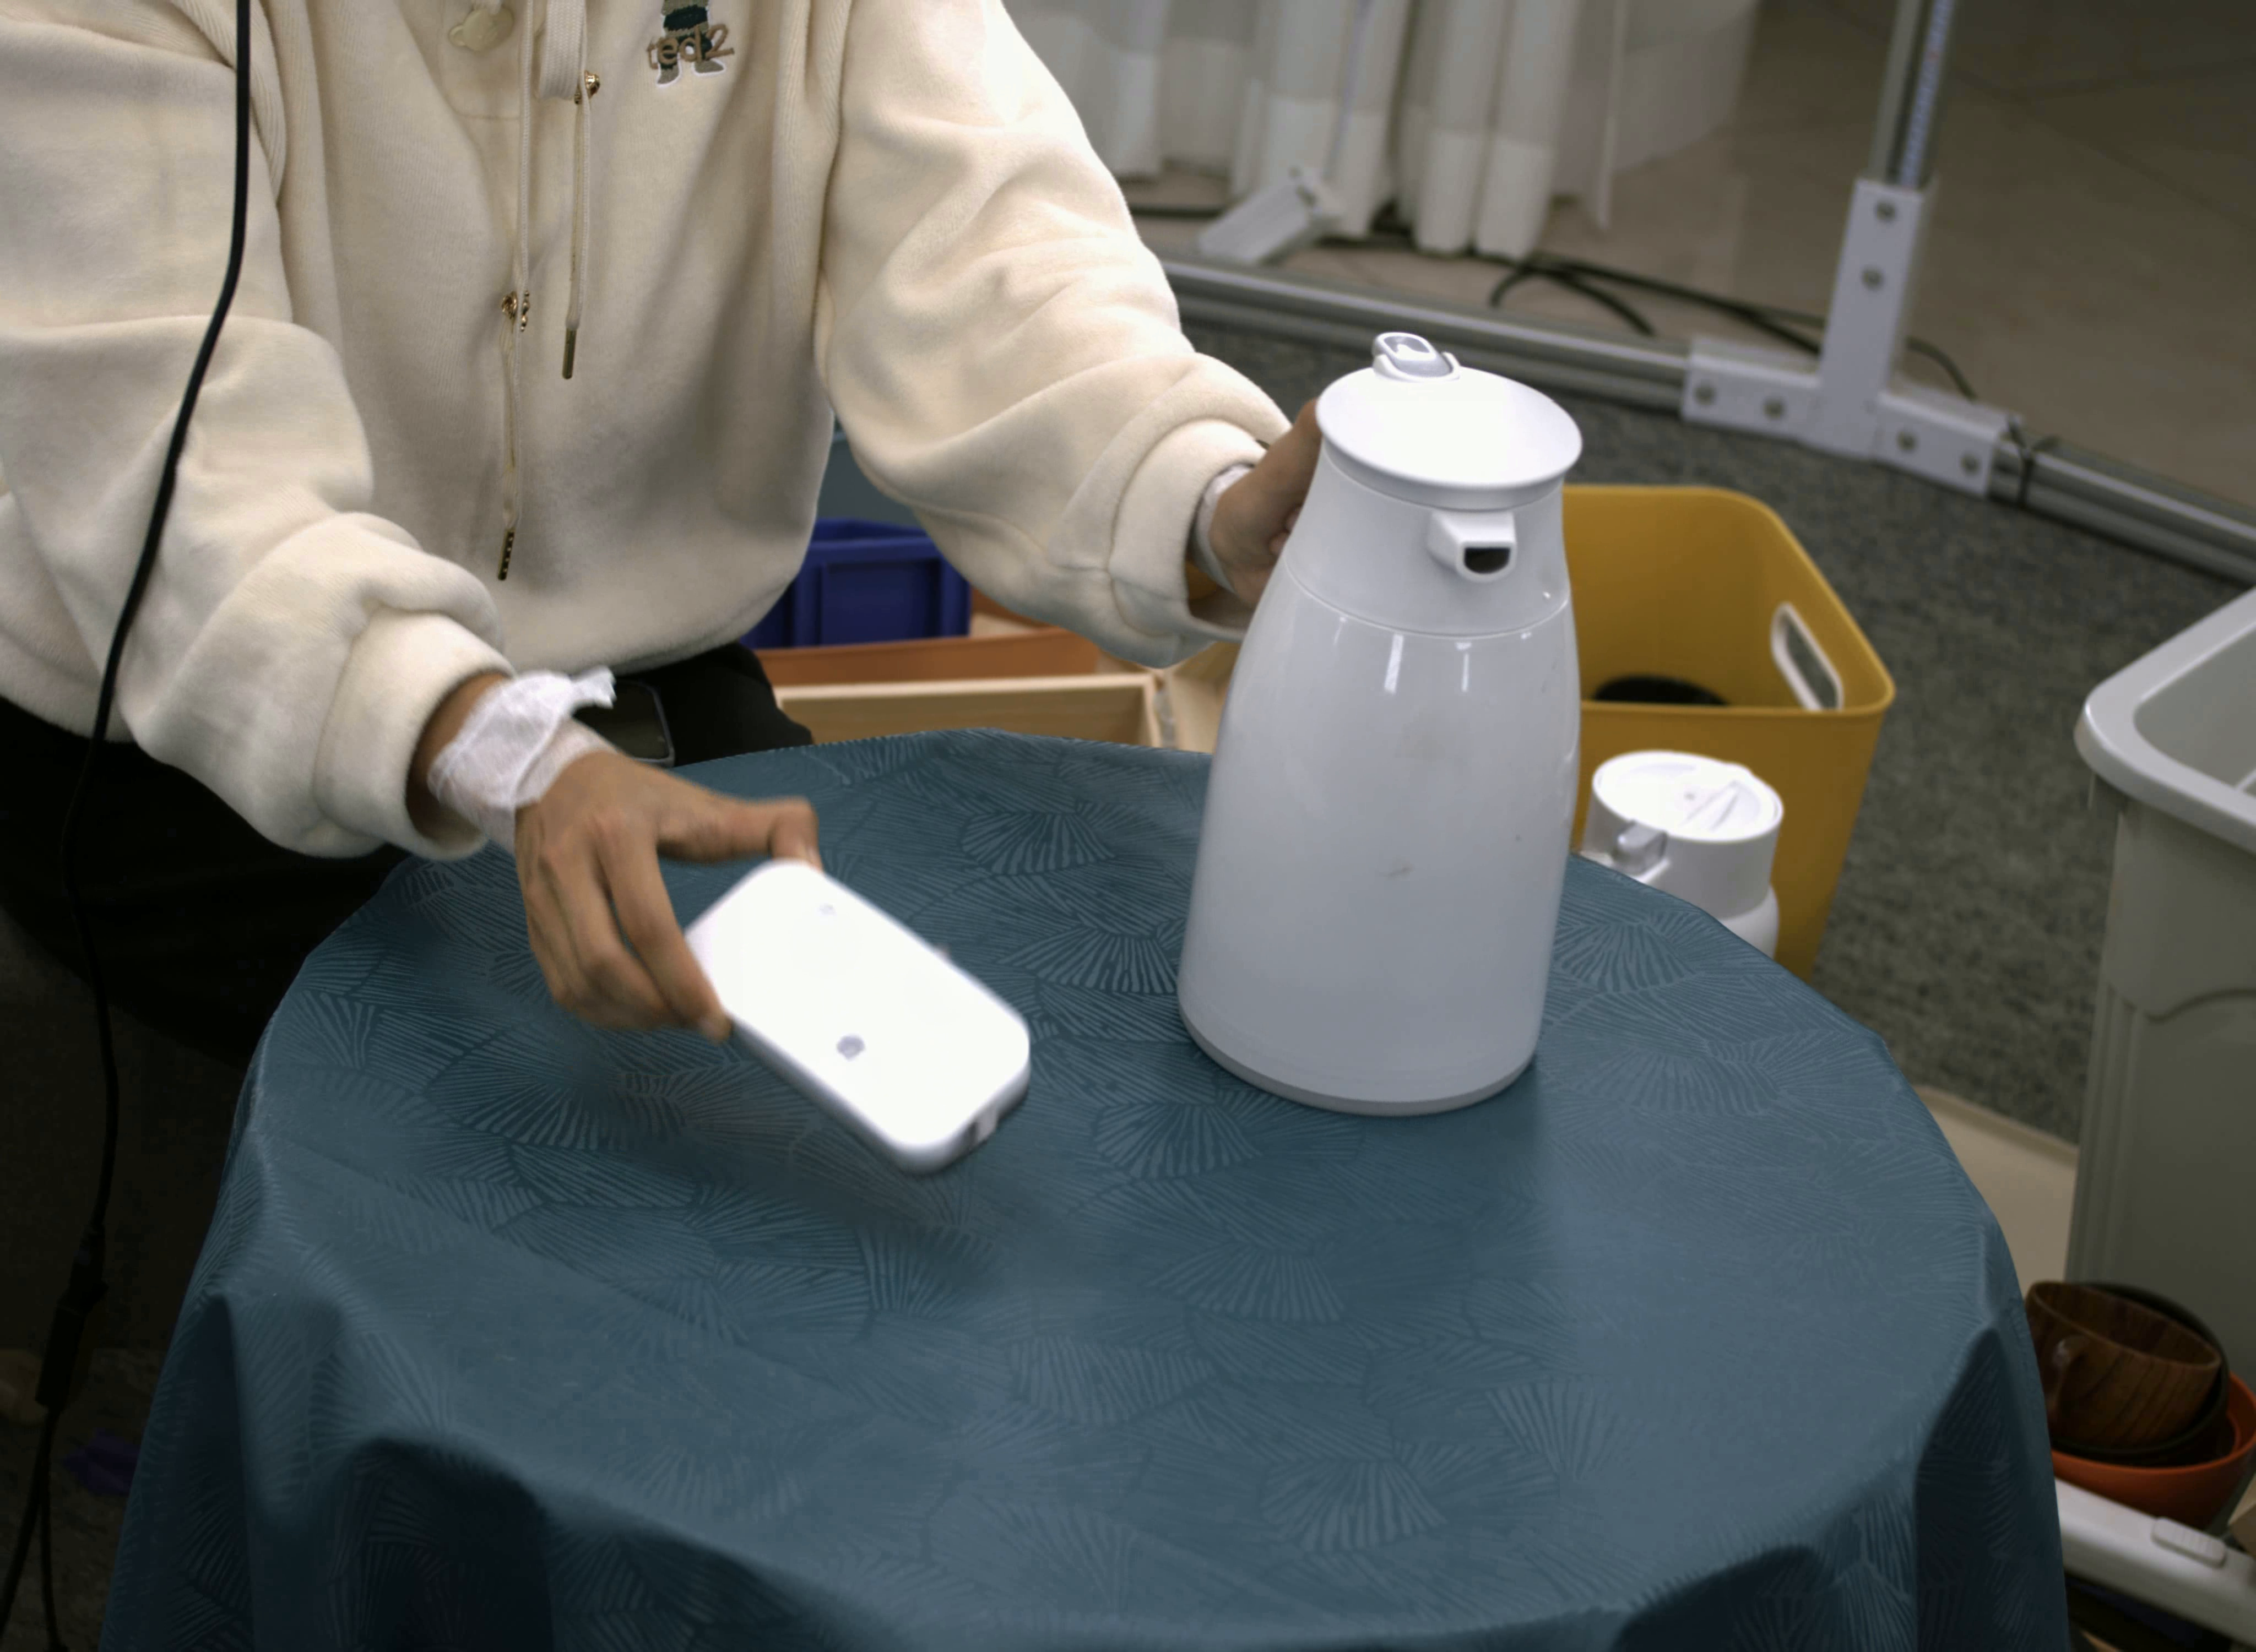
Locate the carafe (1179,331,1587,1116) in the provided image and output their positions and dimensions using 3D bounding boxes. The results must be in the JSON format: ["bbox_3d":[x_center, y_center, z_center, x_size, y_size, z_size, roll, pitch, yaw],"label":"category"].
[{"bbox_3d":[0.092,-0.046,1.875,0.132,0.248,0.169,-1,29,-14],"label":"carafe"}]

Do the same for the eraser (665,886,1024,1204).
[{"bbox_3d":[-0.093,0.070,1.770,0.063,0.034,0.132,-38,56,-23],"label":"eraser"}]
